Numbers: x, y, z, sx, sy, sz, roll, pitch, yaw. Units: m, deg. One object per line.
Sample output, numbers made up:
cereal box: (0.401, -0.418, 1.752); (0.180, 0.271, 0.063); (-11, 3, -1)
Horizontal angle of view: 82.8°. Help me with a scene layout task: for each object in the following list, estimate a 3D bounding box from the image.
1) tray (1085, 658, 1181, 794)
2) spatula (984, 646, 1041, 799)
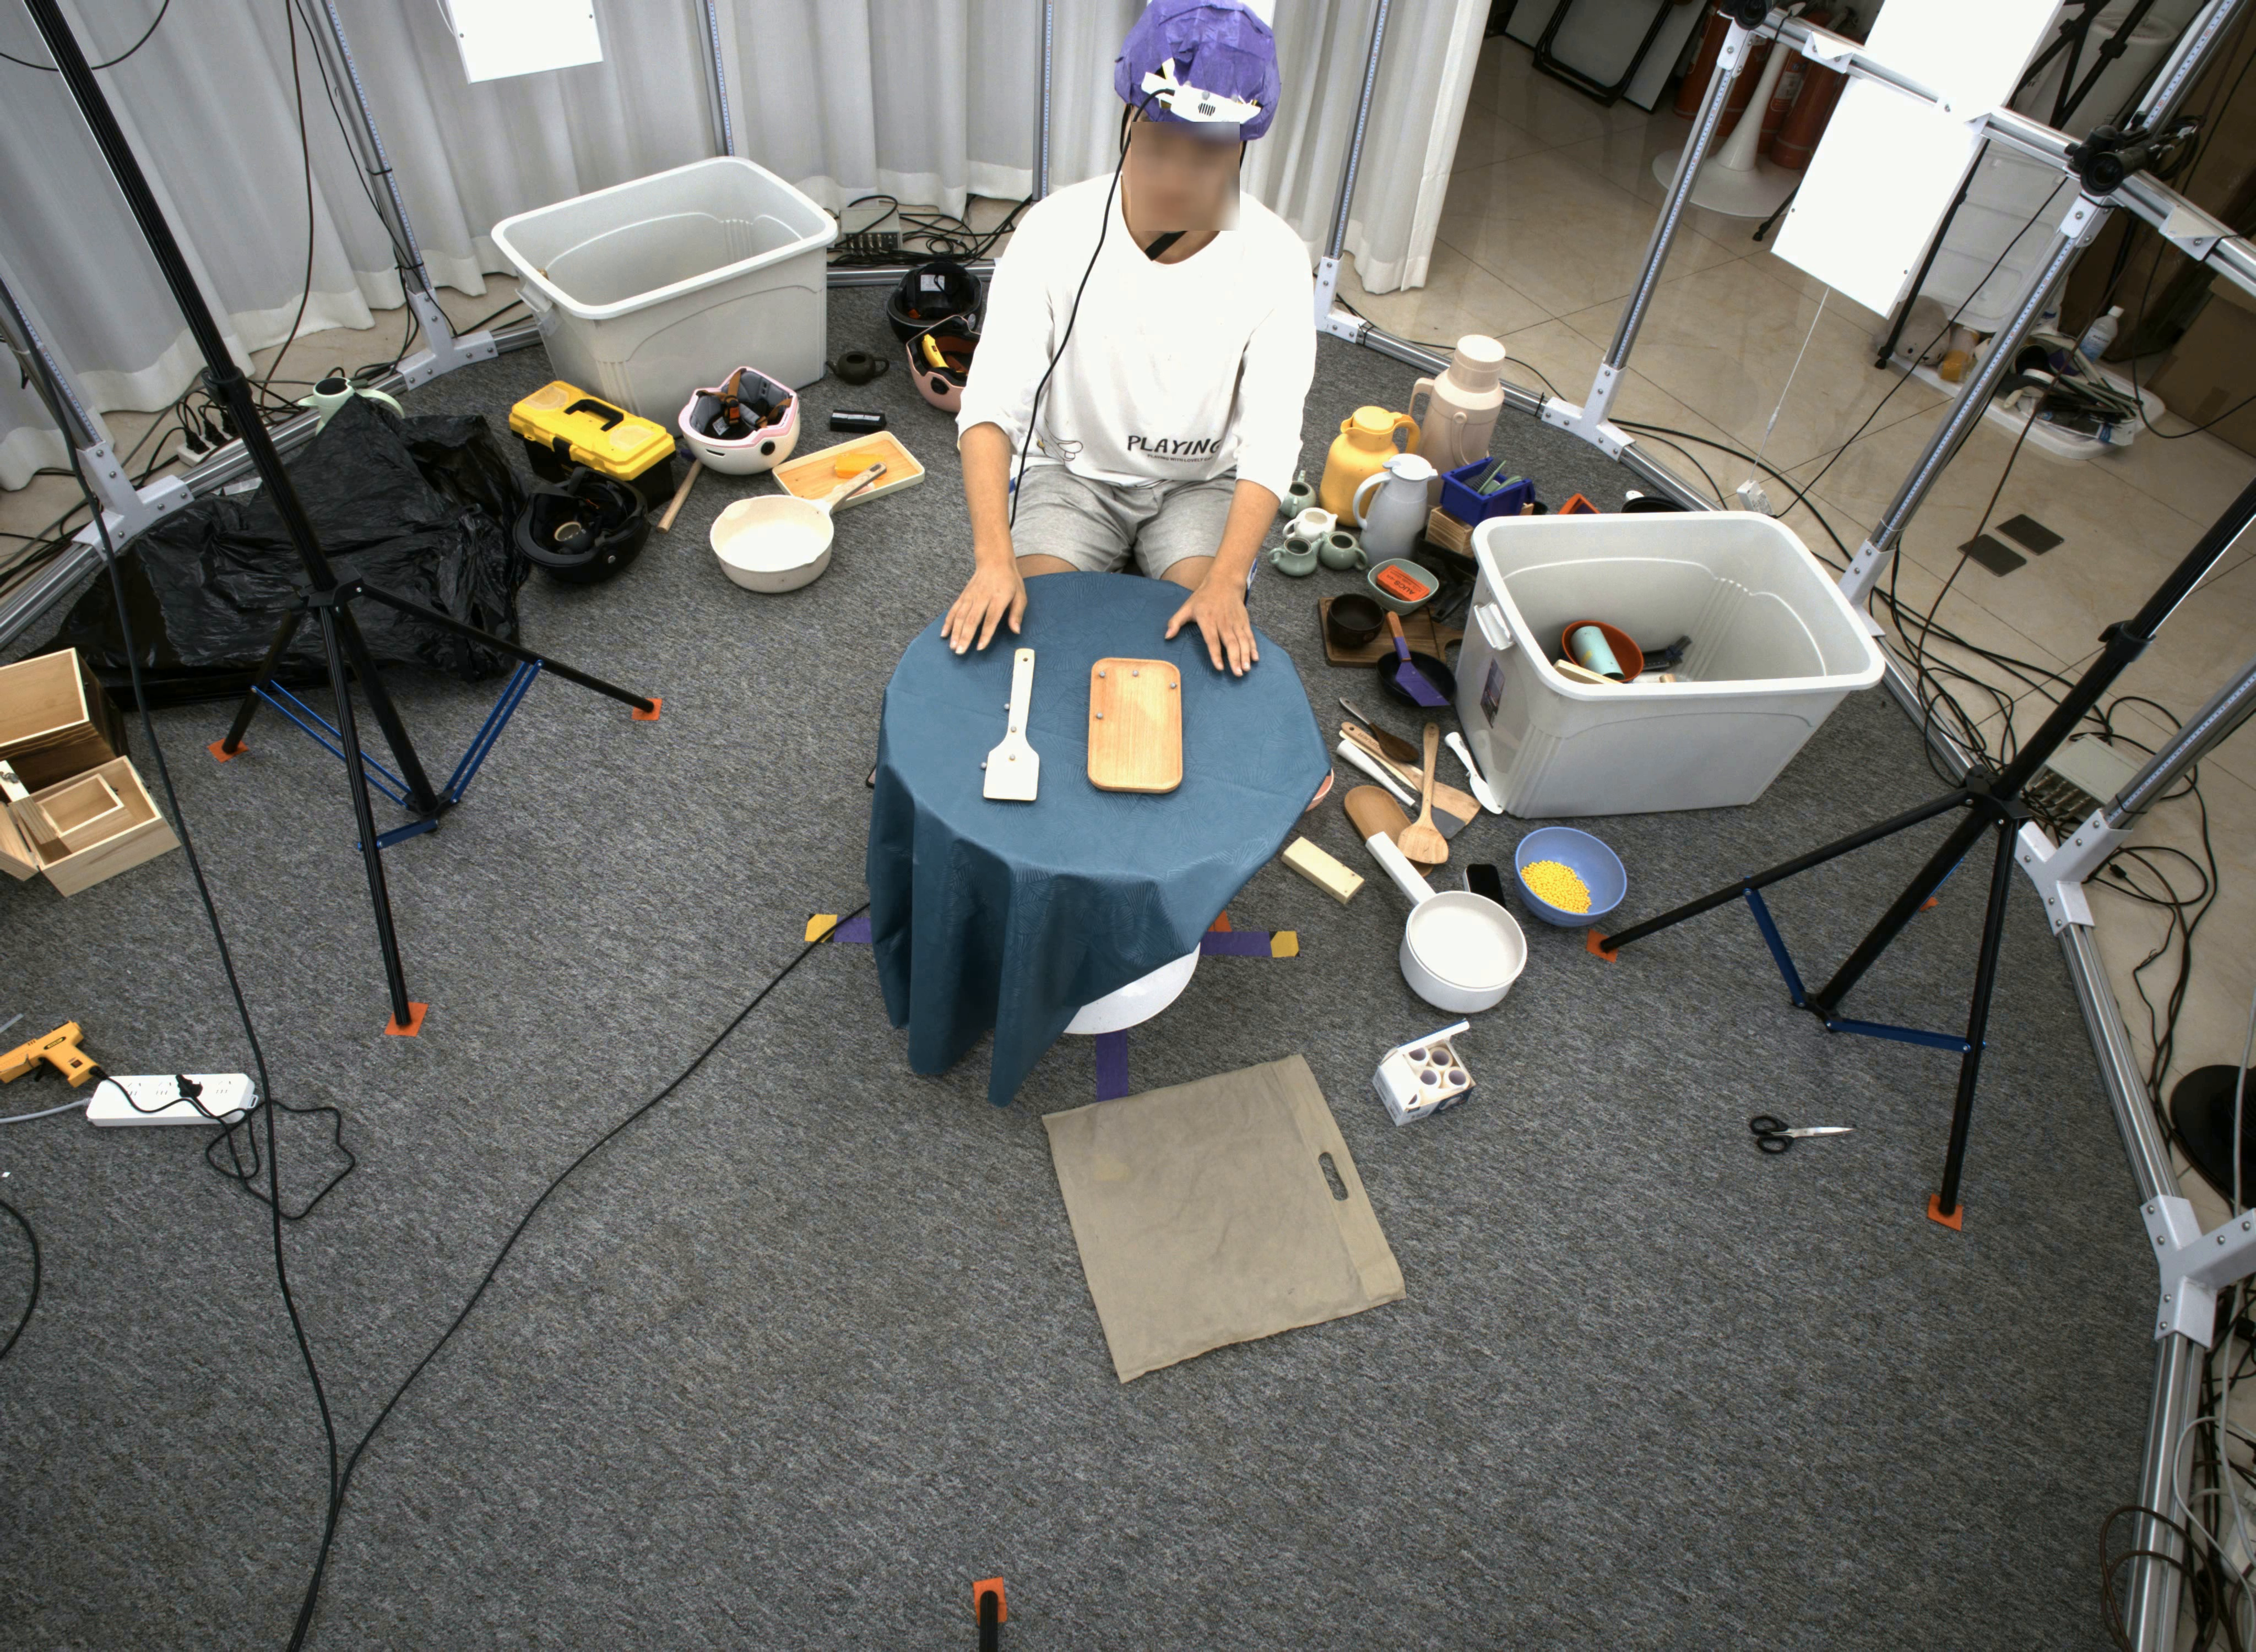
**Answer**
tray: (0.009, -0.142, 1.777); (0.130, 0.022, 0.257); (2, 49, 1)
spatula: (-0.151, -0.148, 1.776); (0.072, 0.010, 0.300); (2, 49, -1)
